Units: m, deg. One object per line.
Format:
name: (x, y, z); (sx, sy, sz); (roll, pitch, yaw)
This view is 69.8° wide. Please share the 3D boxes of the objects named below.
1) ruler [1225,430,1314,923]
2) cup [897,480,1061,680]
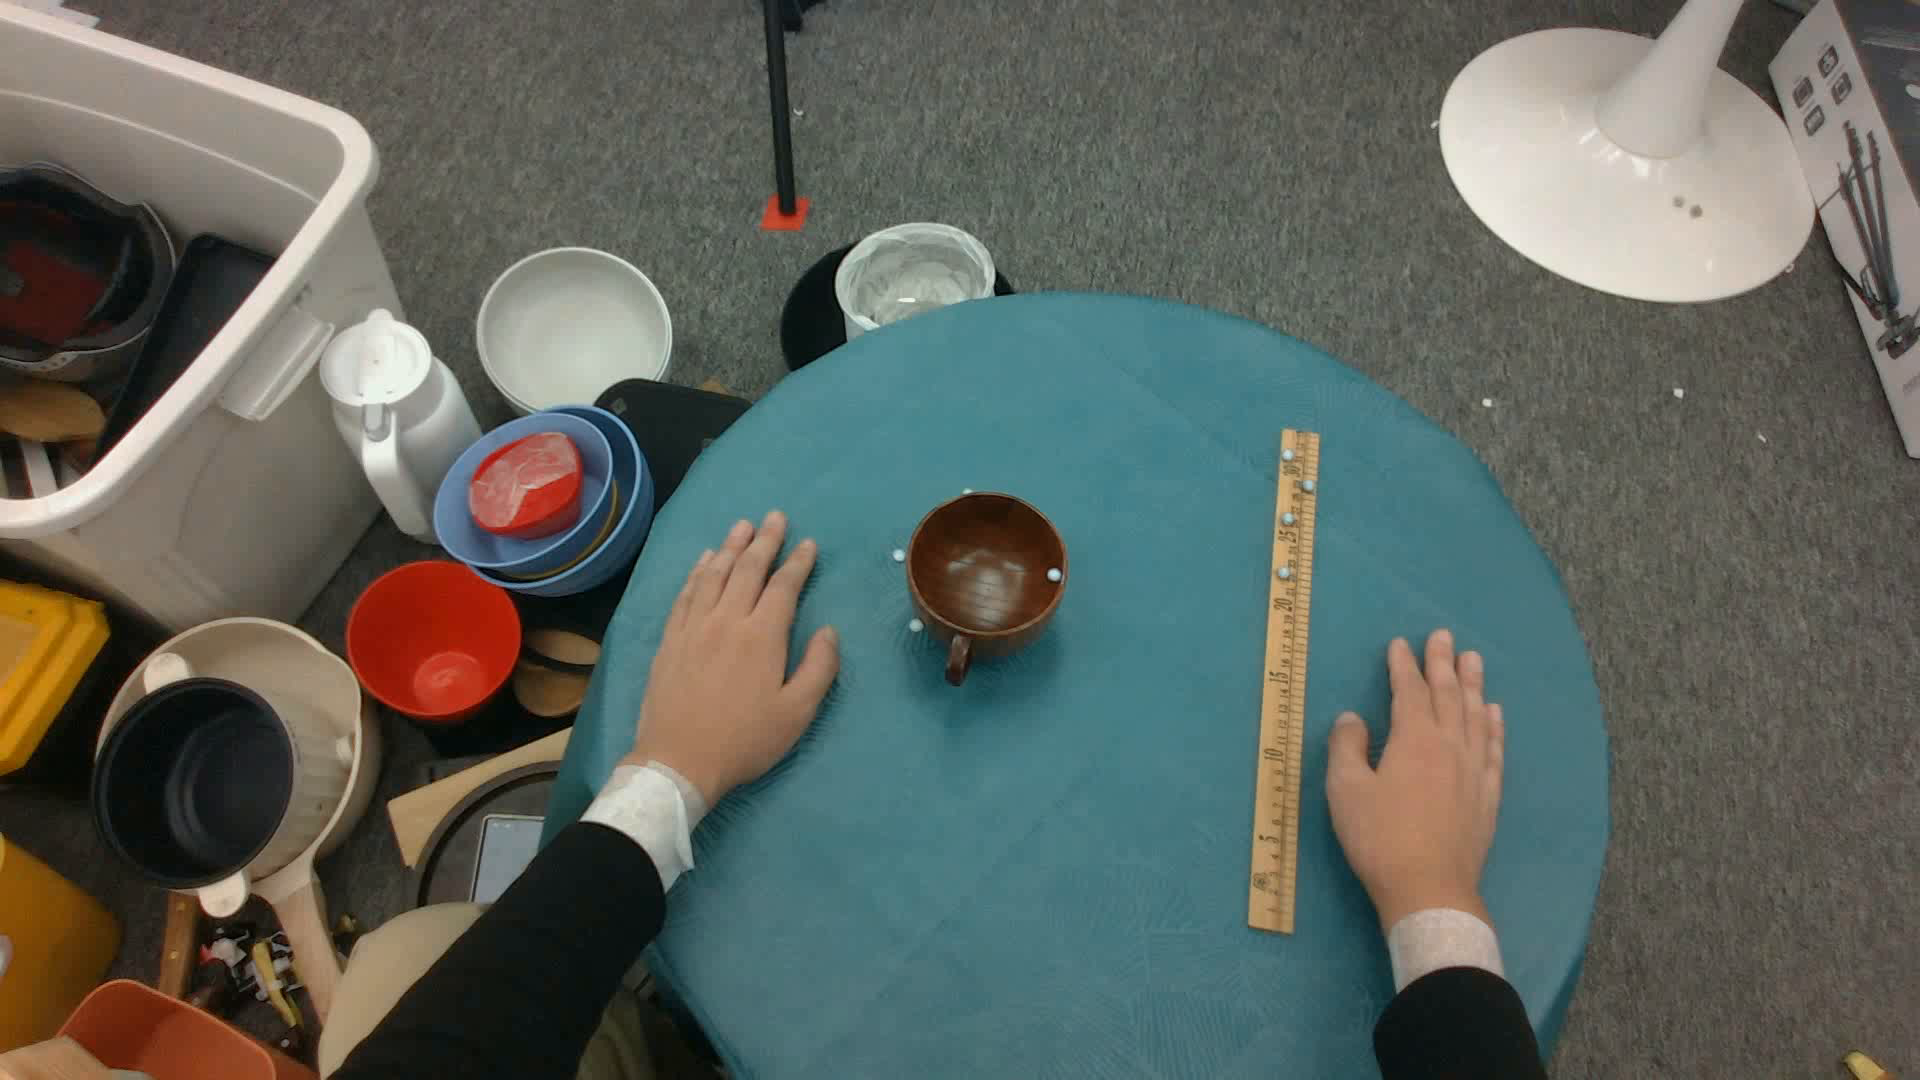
ruler: (0.192, 0.066, 0.837); (0.027, 0.022, 0.333); (9, 59, 8)
cup: (0.006, 0.031, 0.816); (0.096, 0.067, 0.120); (15, 62, 4)
